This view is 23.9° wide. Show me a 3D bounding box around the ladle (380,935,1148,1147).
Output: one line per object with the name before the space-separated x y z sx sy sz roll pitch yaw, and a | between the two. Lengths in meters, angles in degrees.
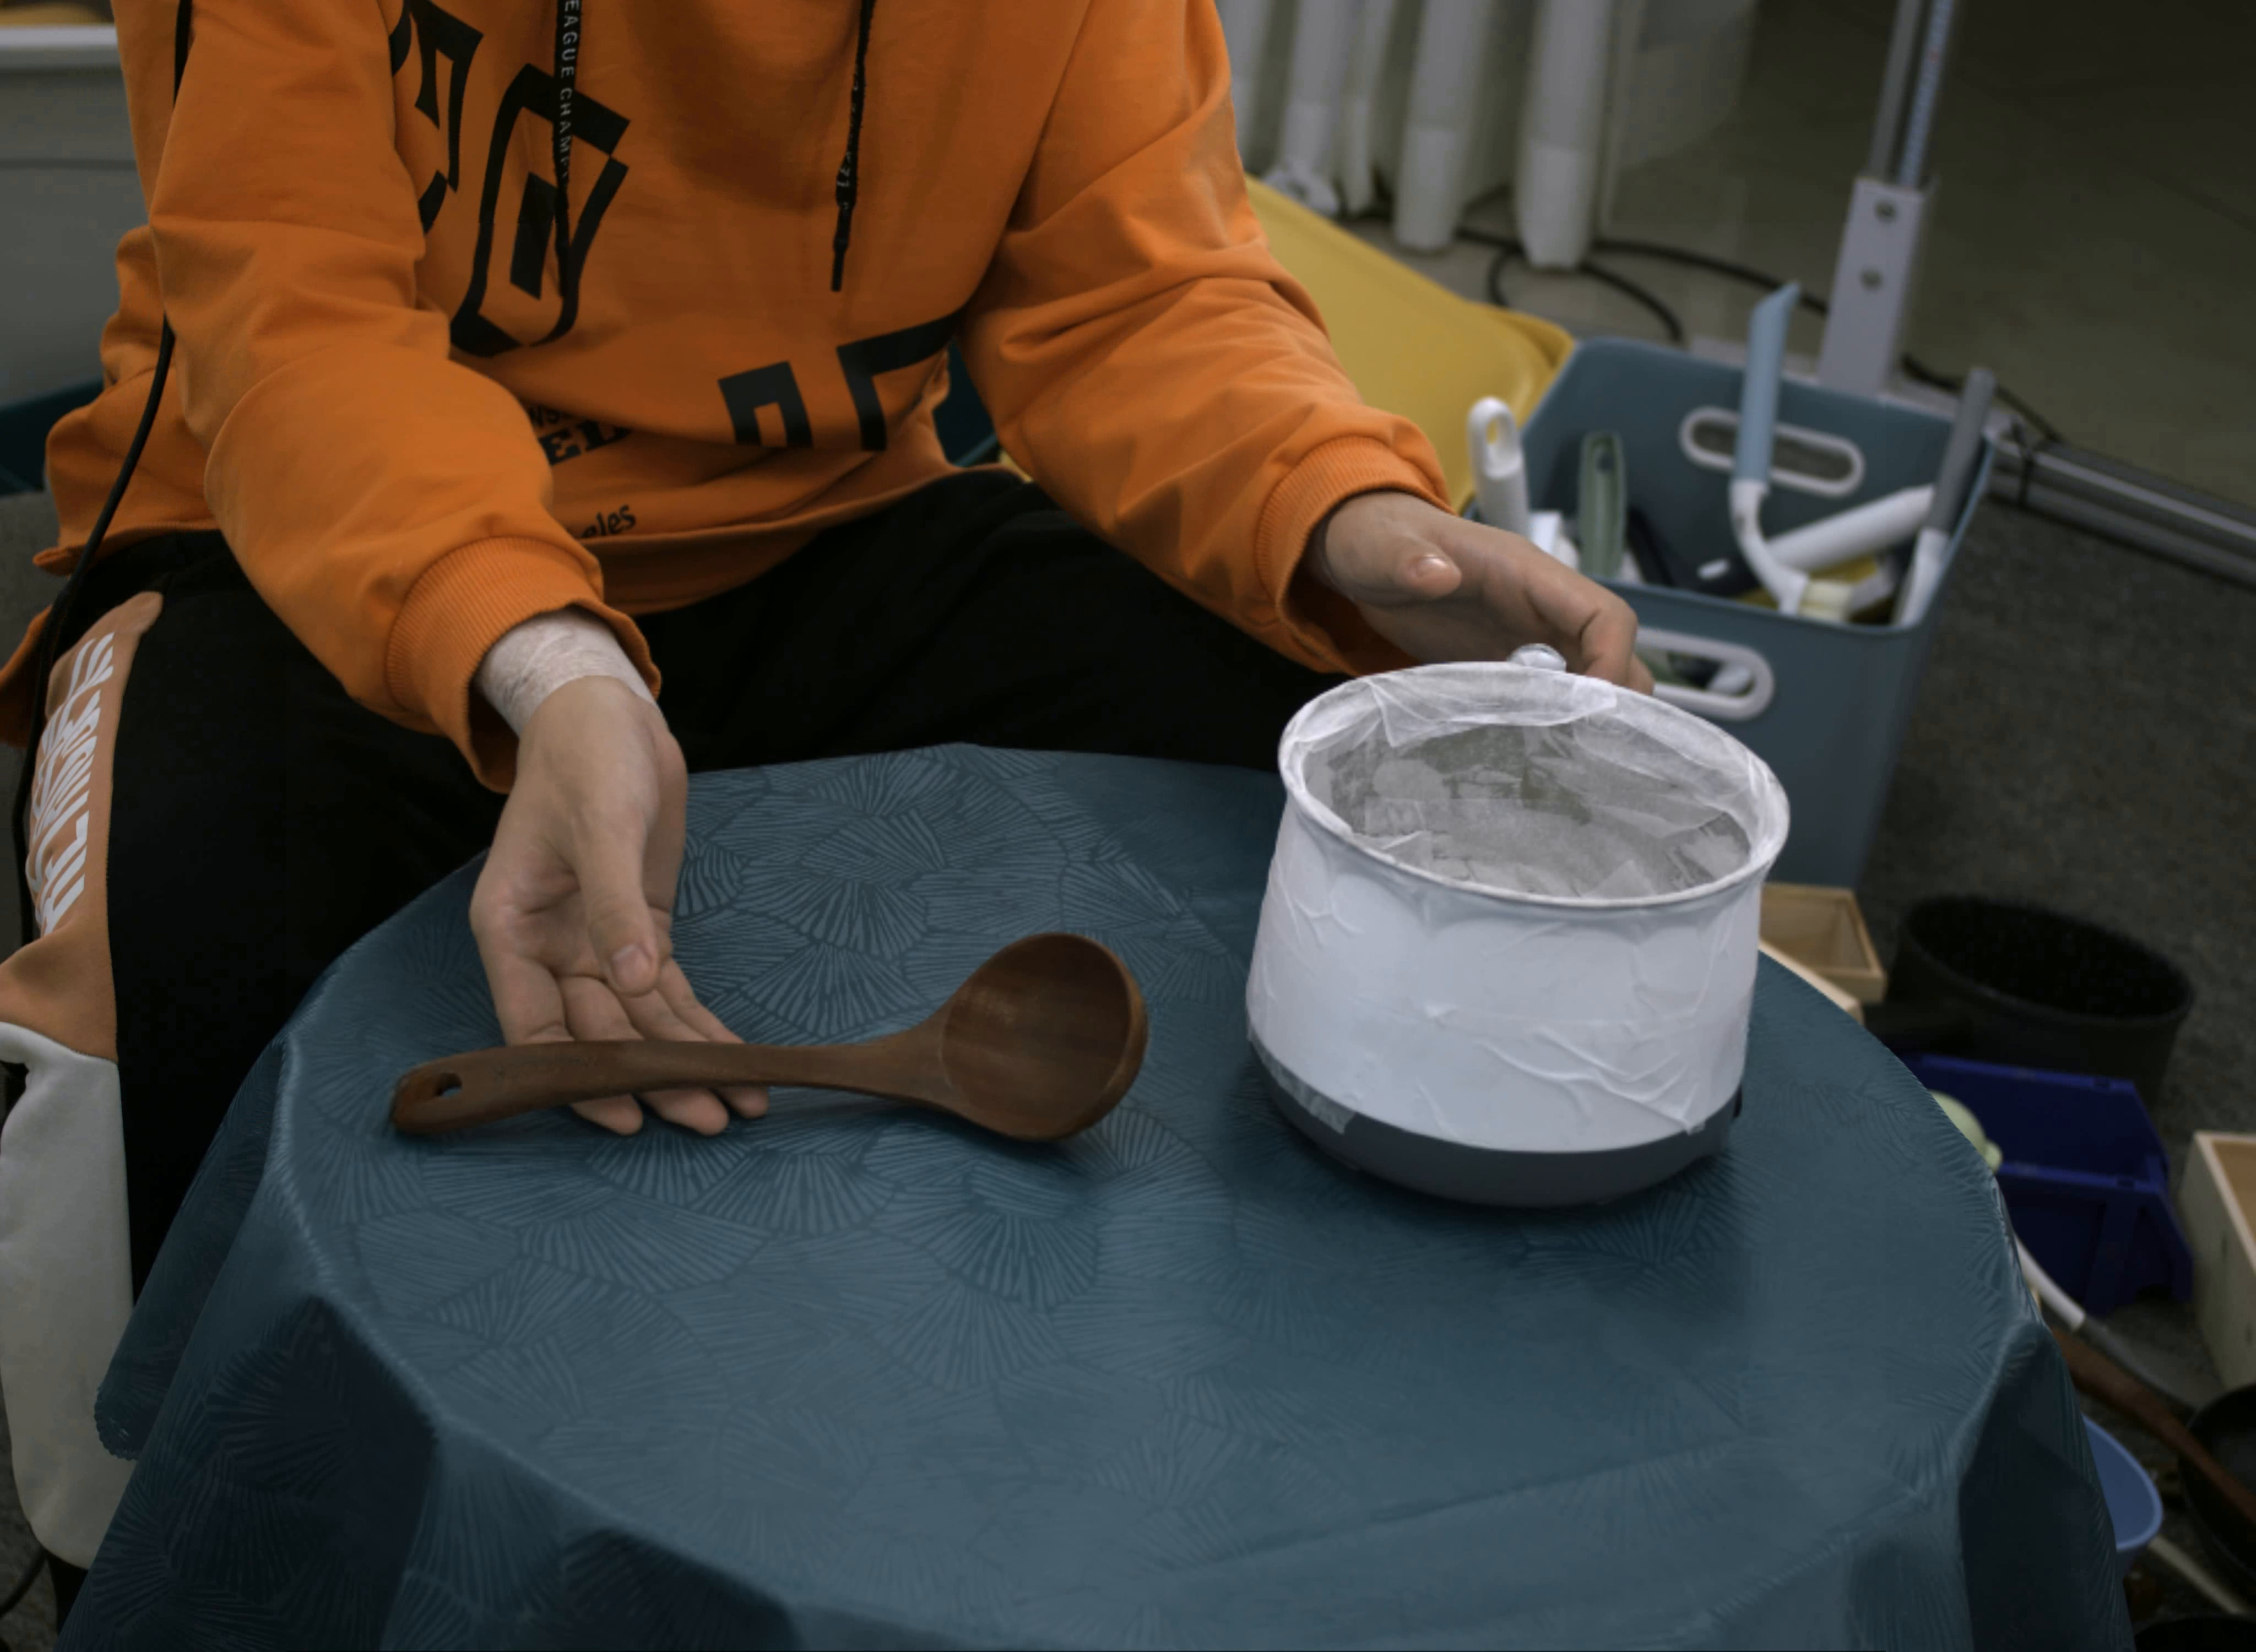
ladle | -0.121 0.077 1.801 0.258 0.065 0.077 -1 54 -16

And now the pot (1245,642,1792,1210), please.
pot | 0.133 0.027 1.870 0.178 0.136 0.235 7 27 0
